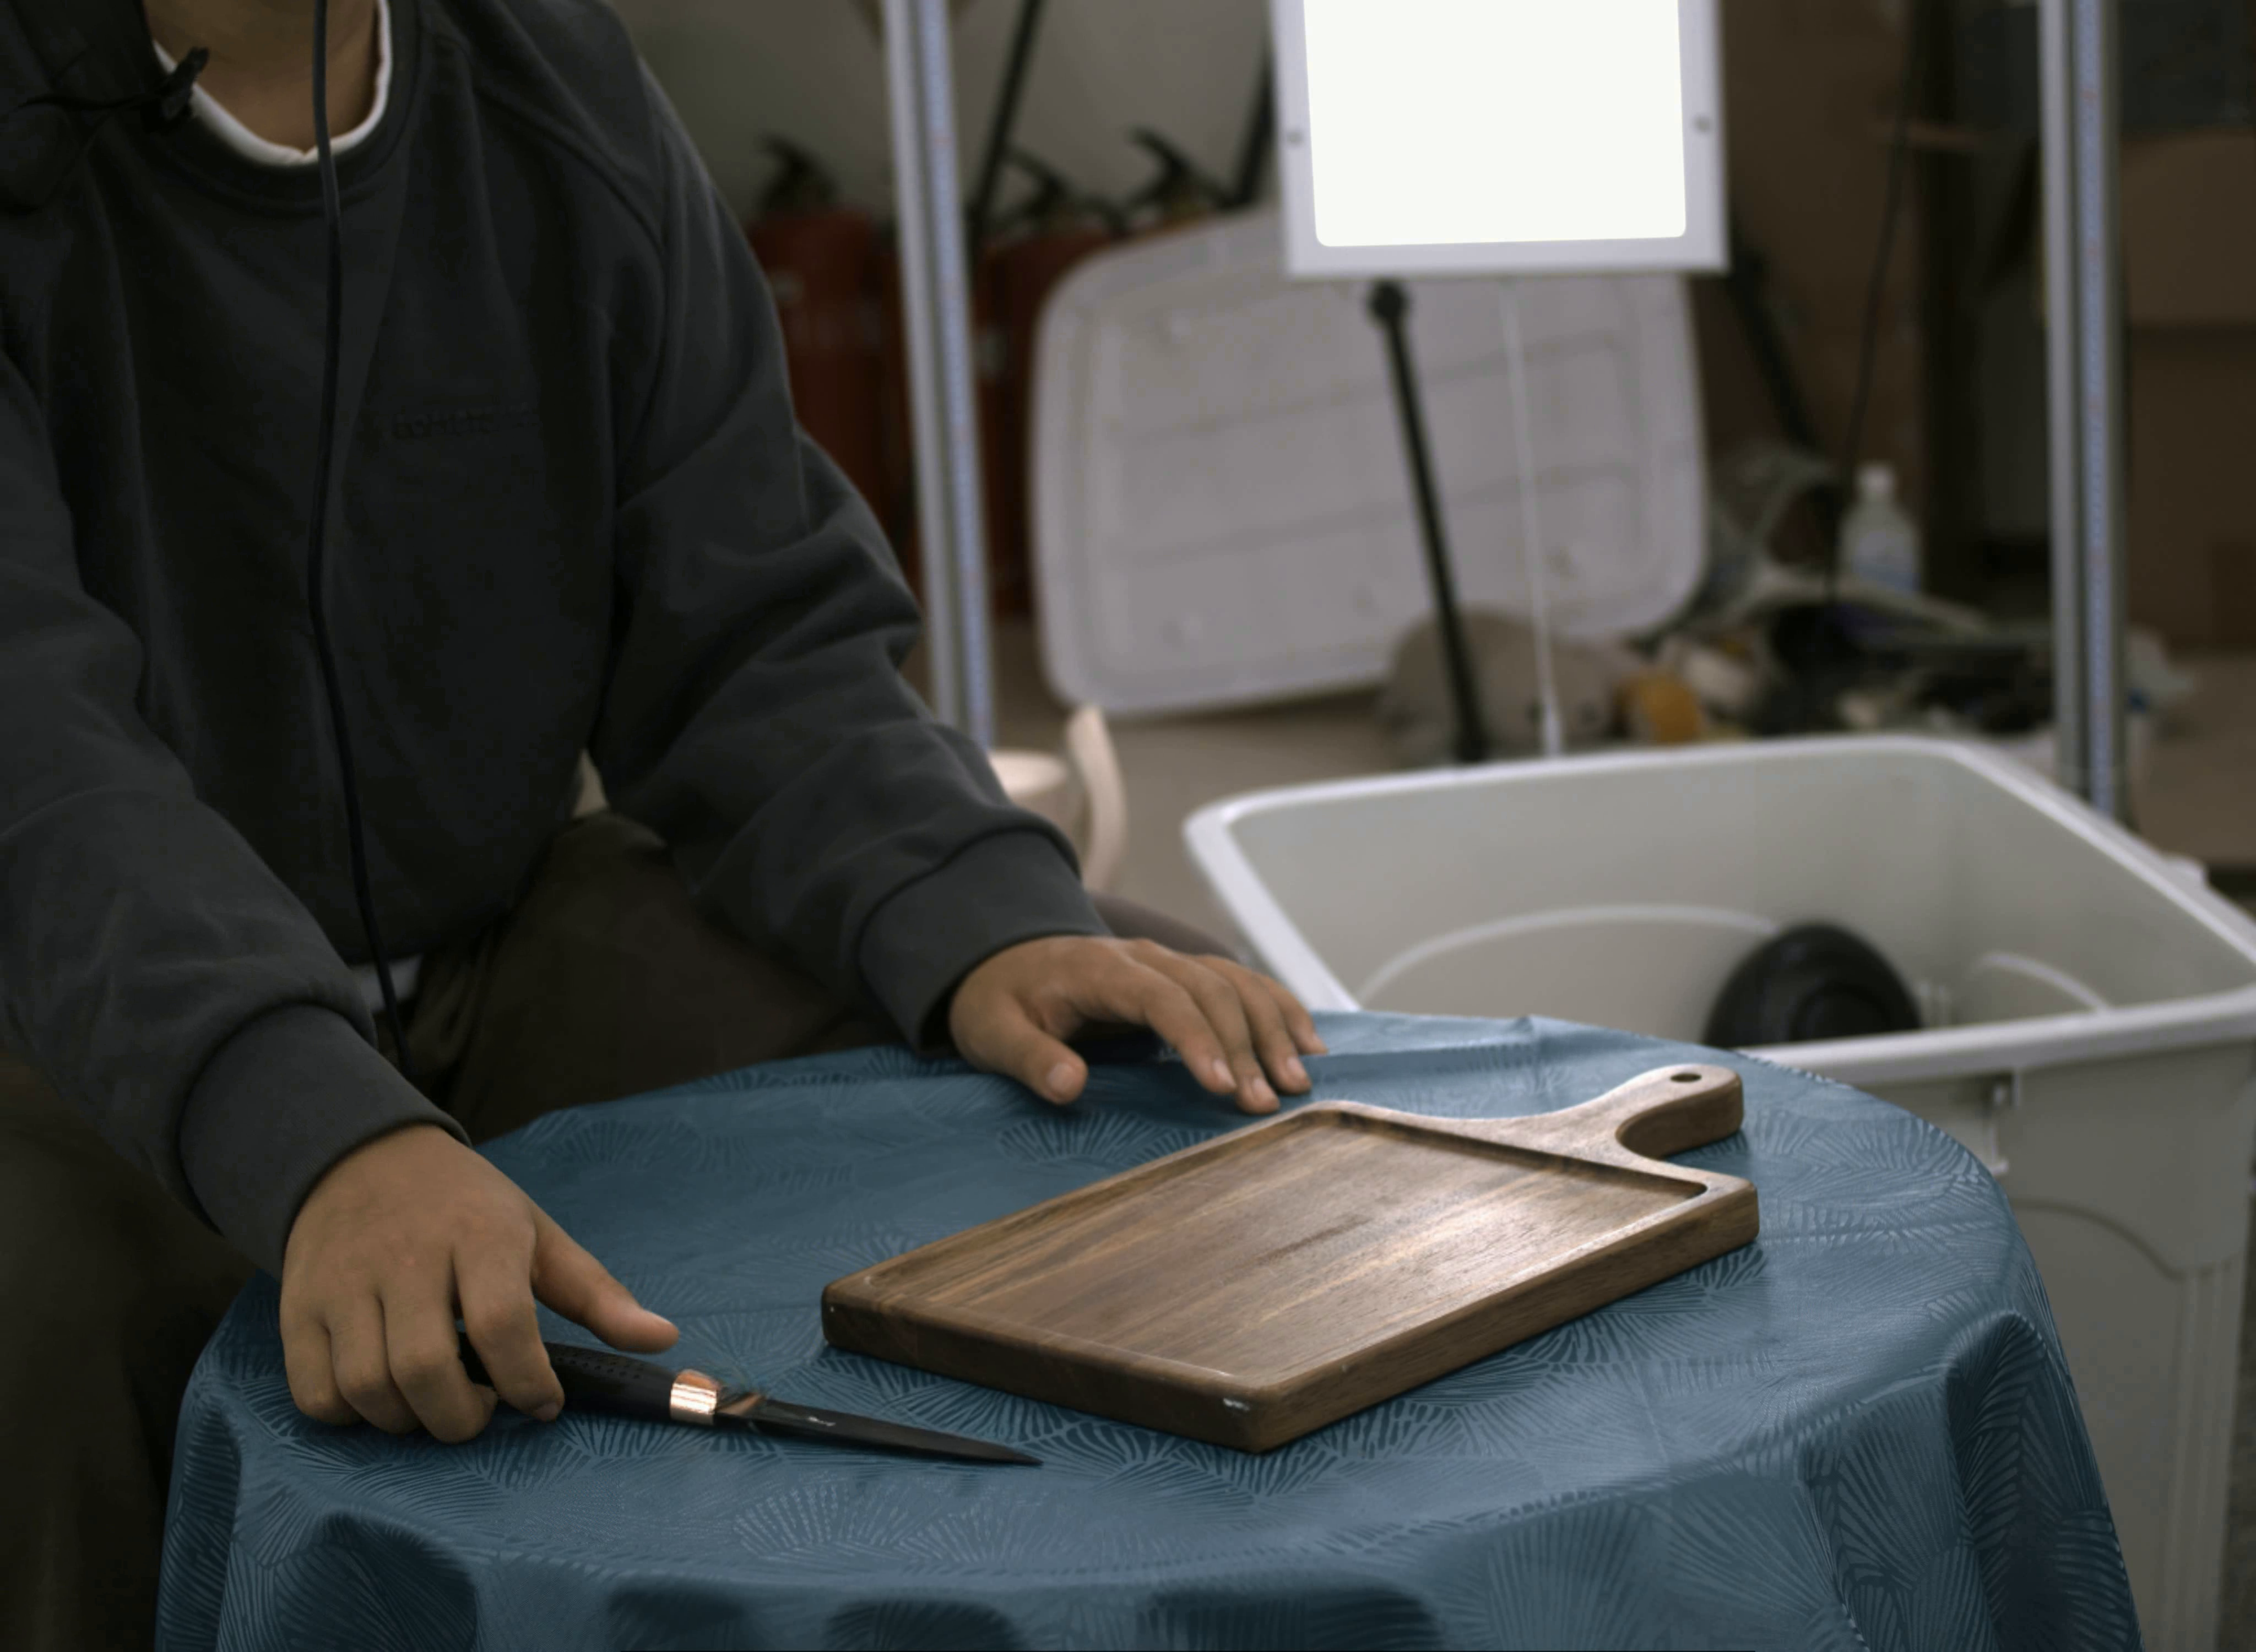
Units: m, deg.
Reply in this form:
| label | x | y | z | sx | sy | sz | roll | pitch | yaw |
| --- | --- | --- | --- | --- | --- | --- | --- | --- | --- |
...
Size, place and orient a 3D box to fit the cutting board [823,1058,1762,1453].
| label | x | y | z | sx | sy | sz | roll | pitch | yaw |
| --- | --- | --- | --- | --- | --- | --- | --- | --- | --- |
| cutting board | 0.089 | 0.130 | 1.809 | 0.343 | 0.023 | 0.205 | -18 | 18 | -42 |

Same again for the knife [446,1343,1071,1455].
| label | x | y | z | sx | sy | sz | roll | pitch | yaw |
| --- | --- | --- | --- | --- | --- | --- | --- | --- | --- |
| knife | -0.117 | 0.179 | 1.702 | 0.230 | 0.017 | 0.025 | 5 | 10 | 33 |
